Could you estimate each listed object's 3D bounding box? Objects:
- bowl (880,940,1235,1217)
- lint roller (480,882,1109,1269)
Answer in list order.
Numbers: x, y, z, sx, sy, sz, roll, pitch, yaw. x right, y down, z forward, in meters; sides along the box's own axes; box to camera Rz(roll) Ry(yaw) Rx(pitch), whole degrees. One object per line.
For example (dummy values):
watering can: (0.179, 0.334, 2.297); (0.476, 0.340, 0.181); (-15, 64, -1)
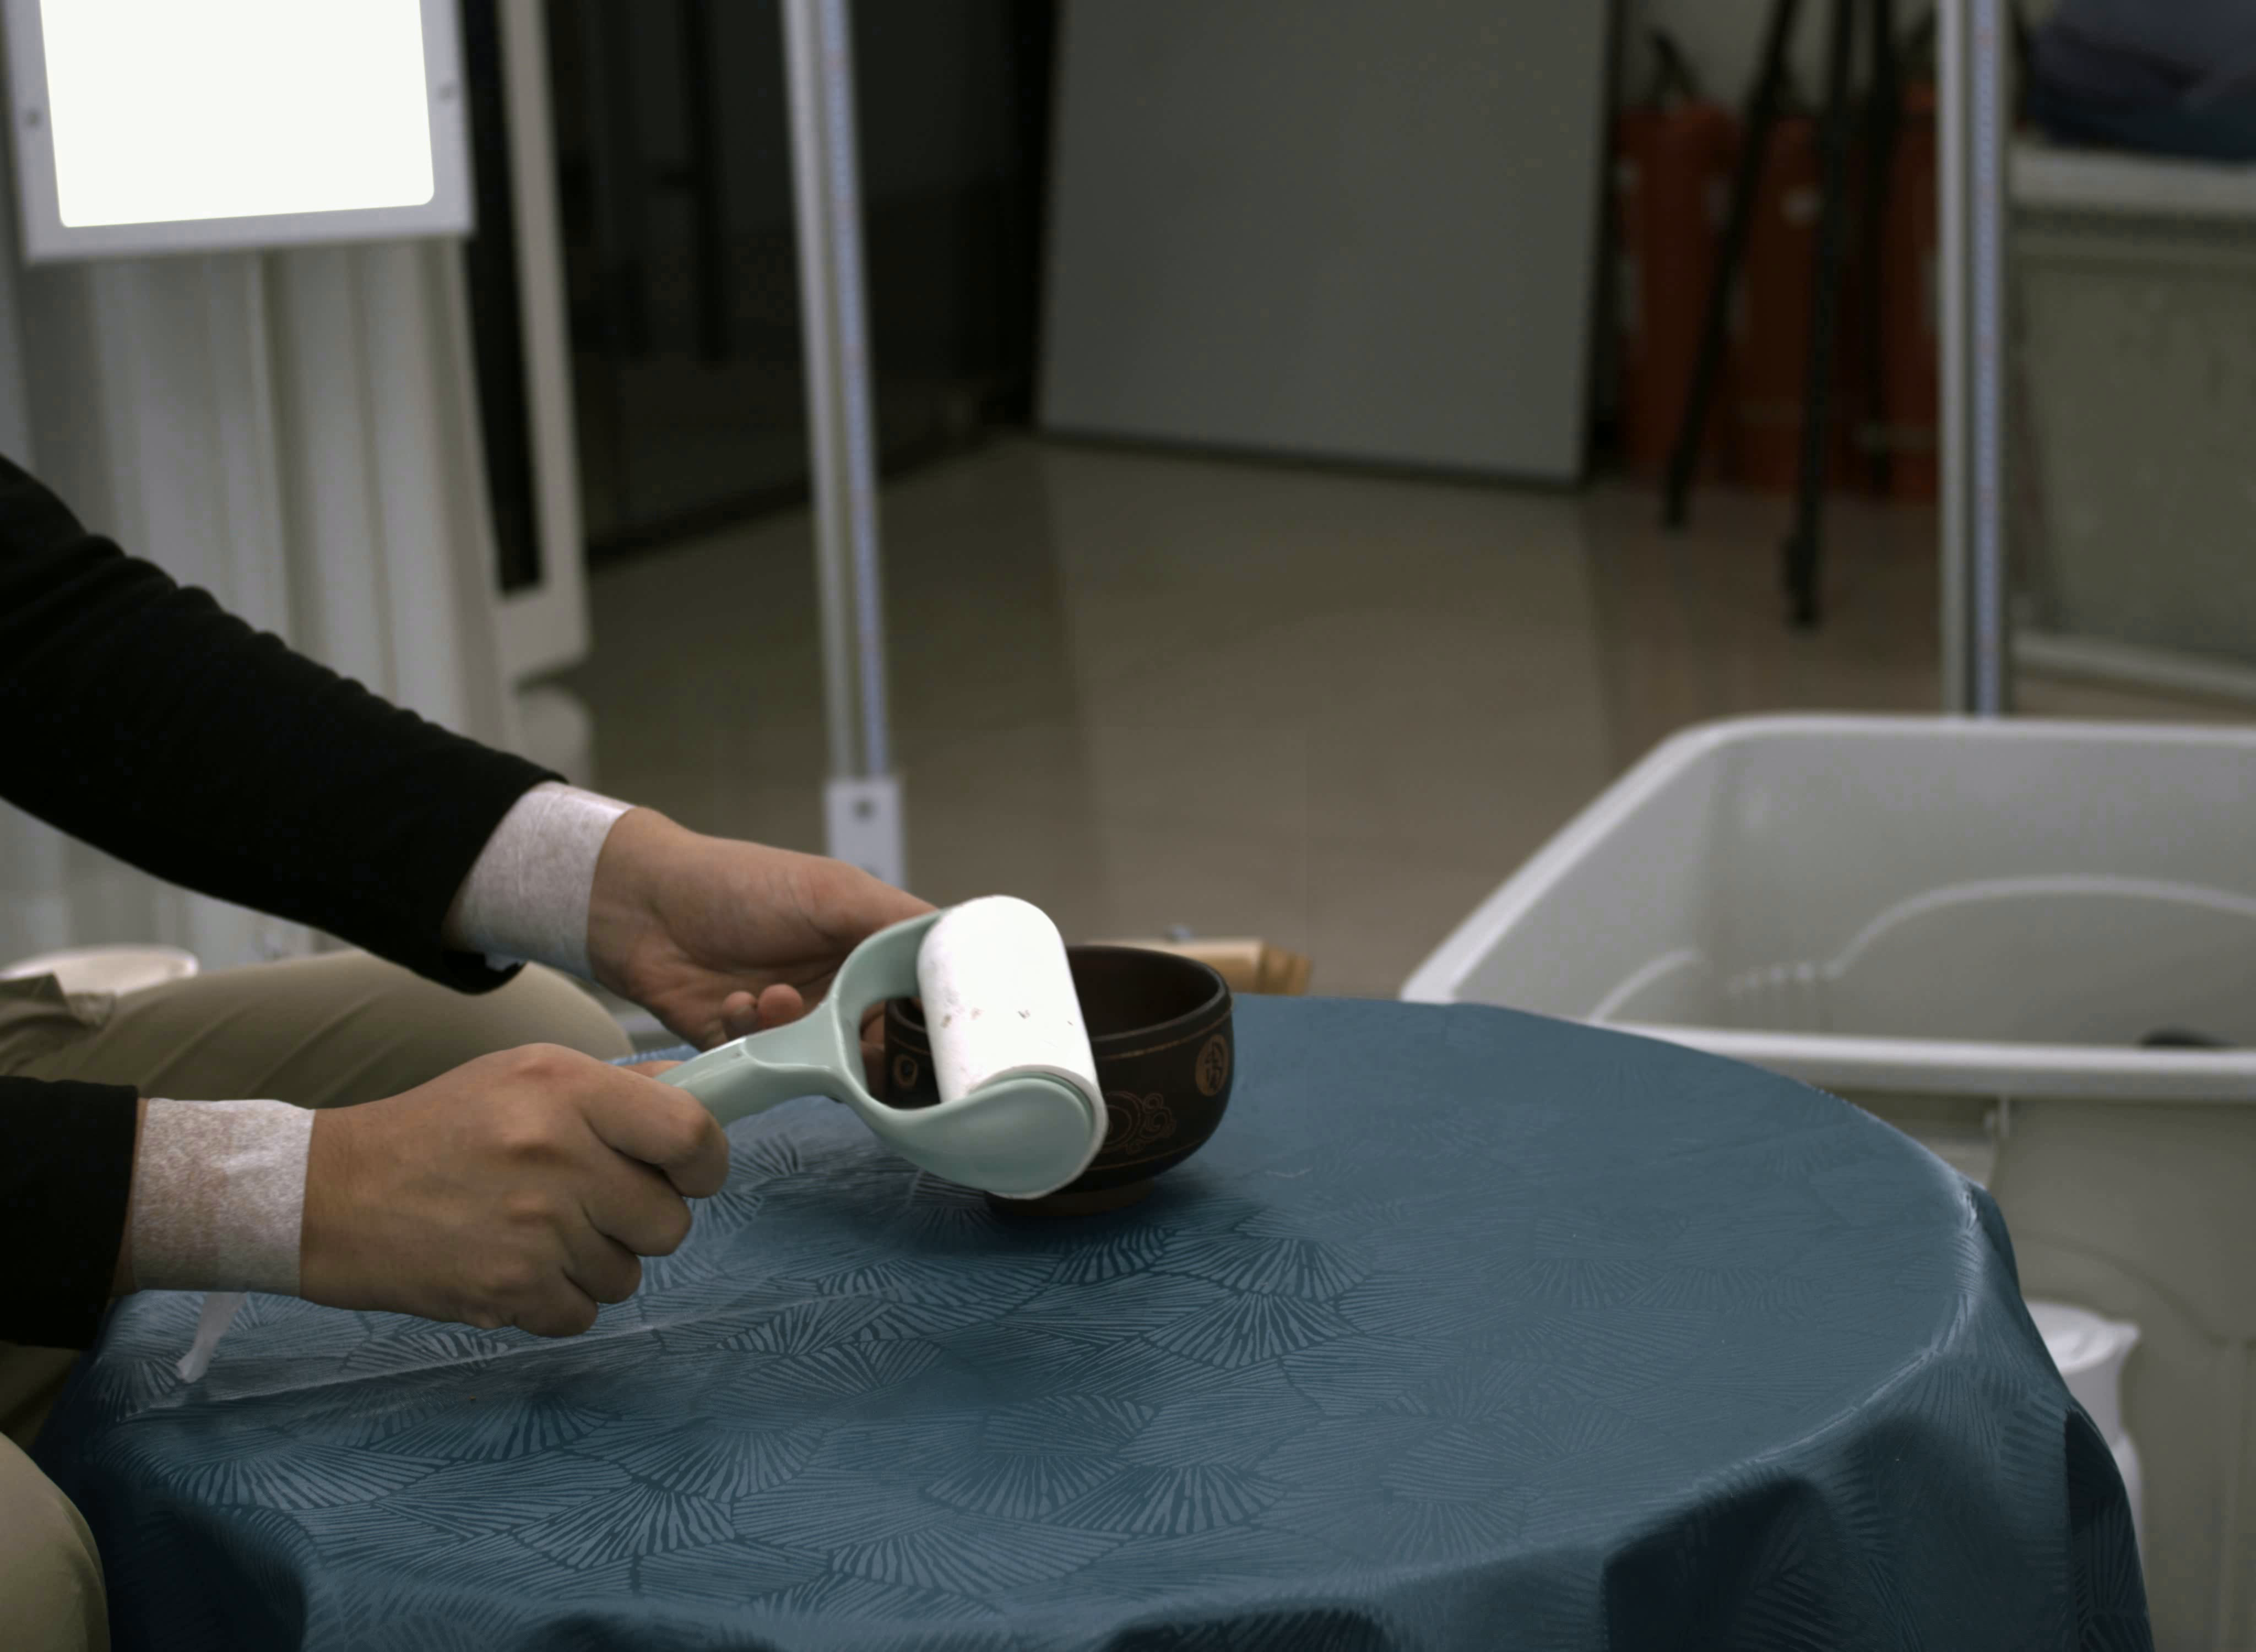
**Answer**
bowl: (-0.022, 0.086, 1.767); (0.116, 0.070, 0.118); (-5, 14, 0)
lint roller: (-0.106, 0.082, 1.635); (0.195, 0.048, 0.117); (-17, 30, 1)
